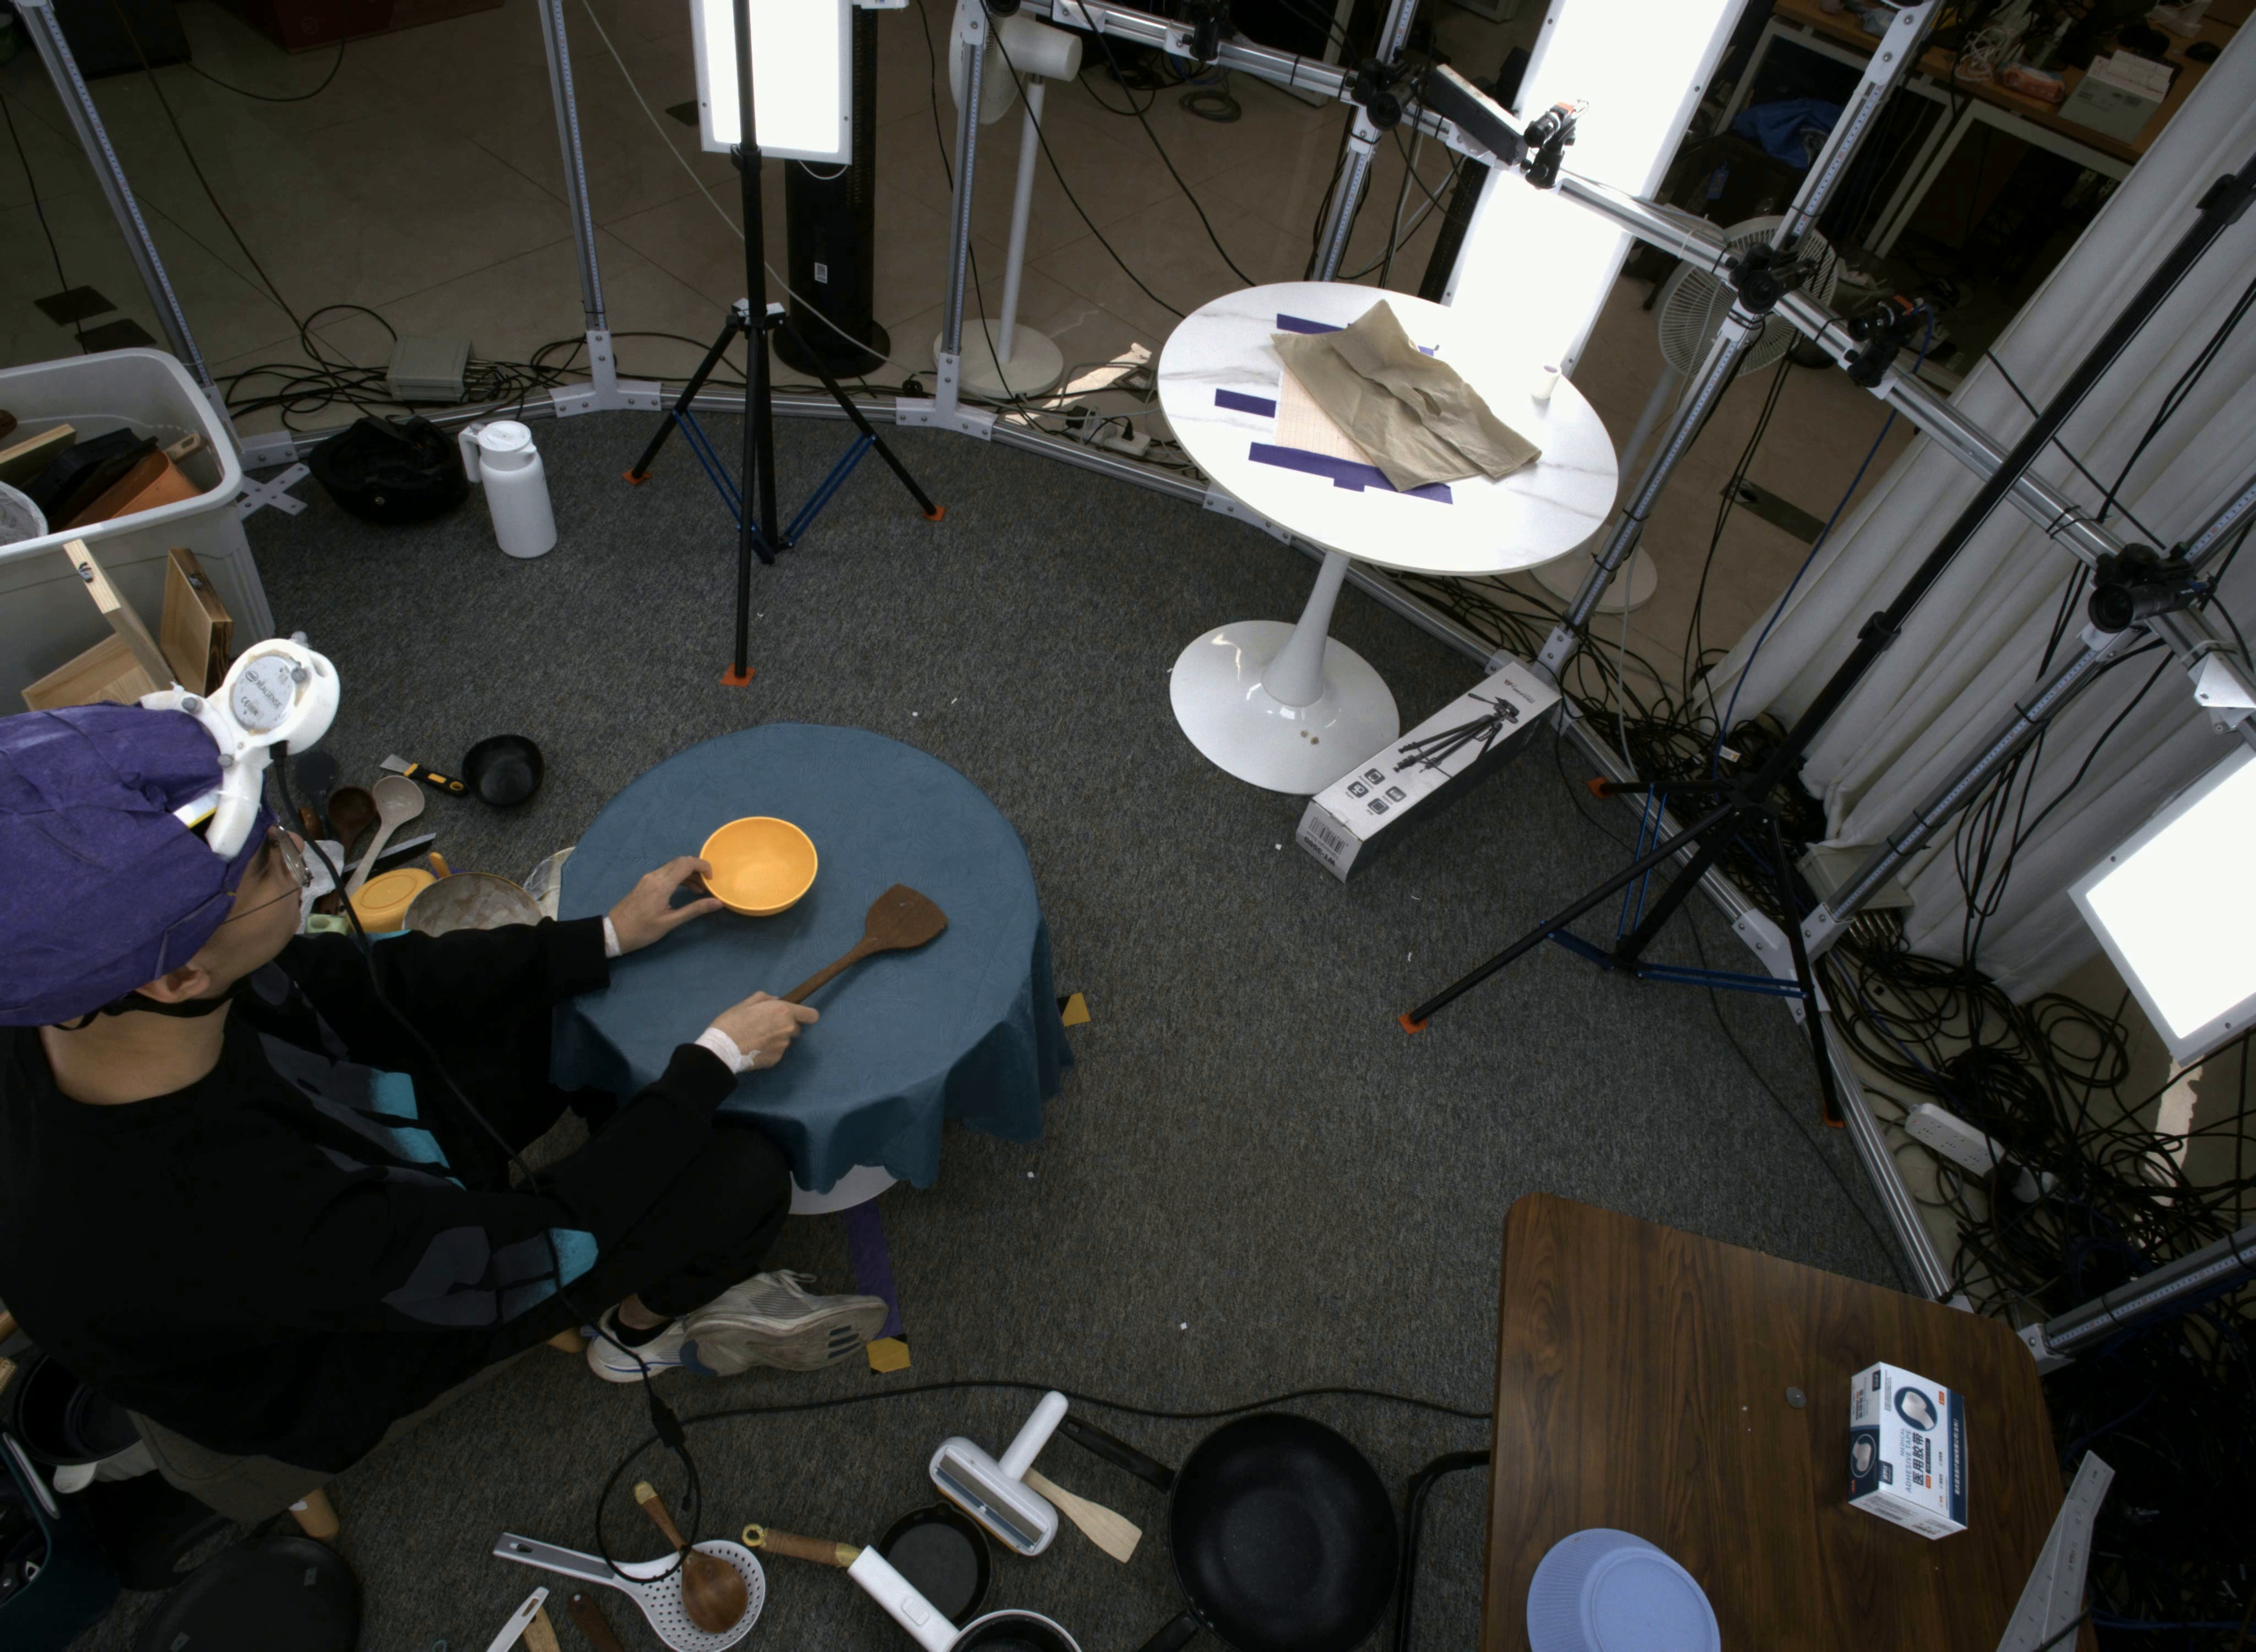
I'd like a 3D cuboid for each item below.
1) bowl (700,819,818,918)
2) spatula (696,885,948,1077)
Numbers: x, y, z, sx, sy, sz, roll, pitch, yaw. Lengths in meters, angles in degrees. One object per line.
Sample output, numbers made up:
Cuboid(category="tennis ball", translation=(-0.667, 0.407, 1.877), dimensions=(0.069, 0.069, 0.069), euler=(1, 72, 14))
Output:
Cuboid(category="bowl", translation=(-0.463, 0.063, 1.636), dimensions=(0.145, 0.061, 0.142), euler=(7, 51, -7))
Cuboid(category="spatula", translation=(-0.369, 0.183, 1.568), dimensions=(0.094, 0.016, 0.386), euler=(35, 44, 16))
